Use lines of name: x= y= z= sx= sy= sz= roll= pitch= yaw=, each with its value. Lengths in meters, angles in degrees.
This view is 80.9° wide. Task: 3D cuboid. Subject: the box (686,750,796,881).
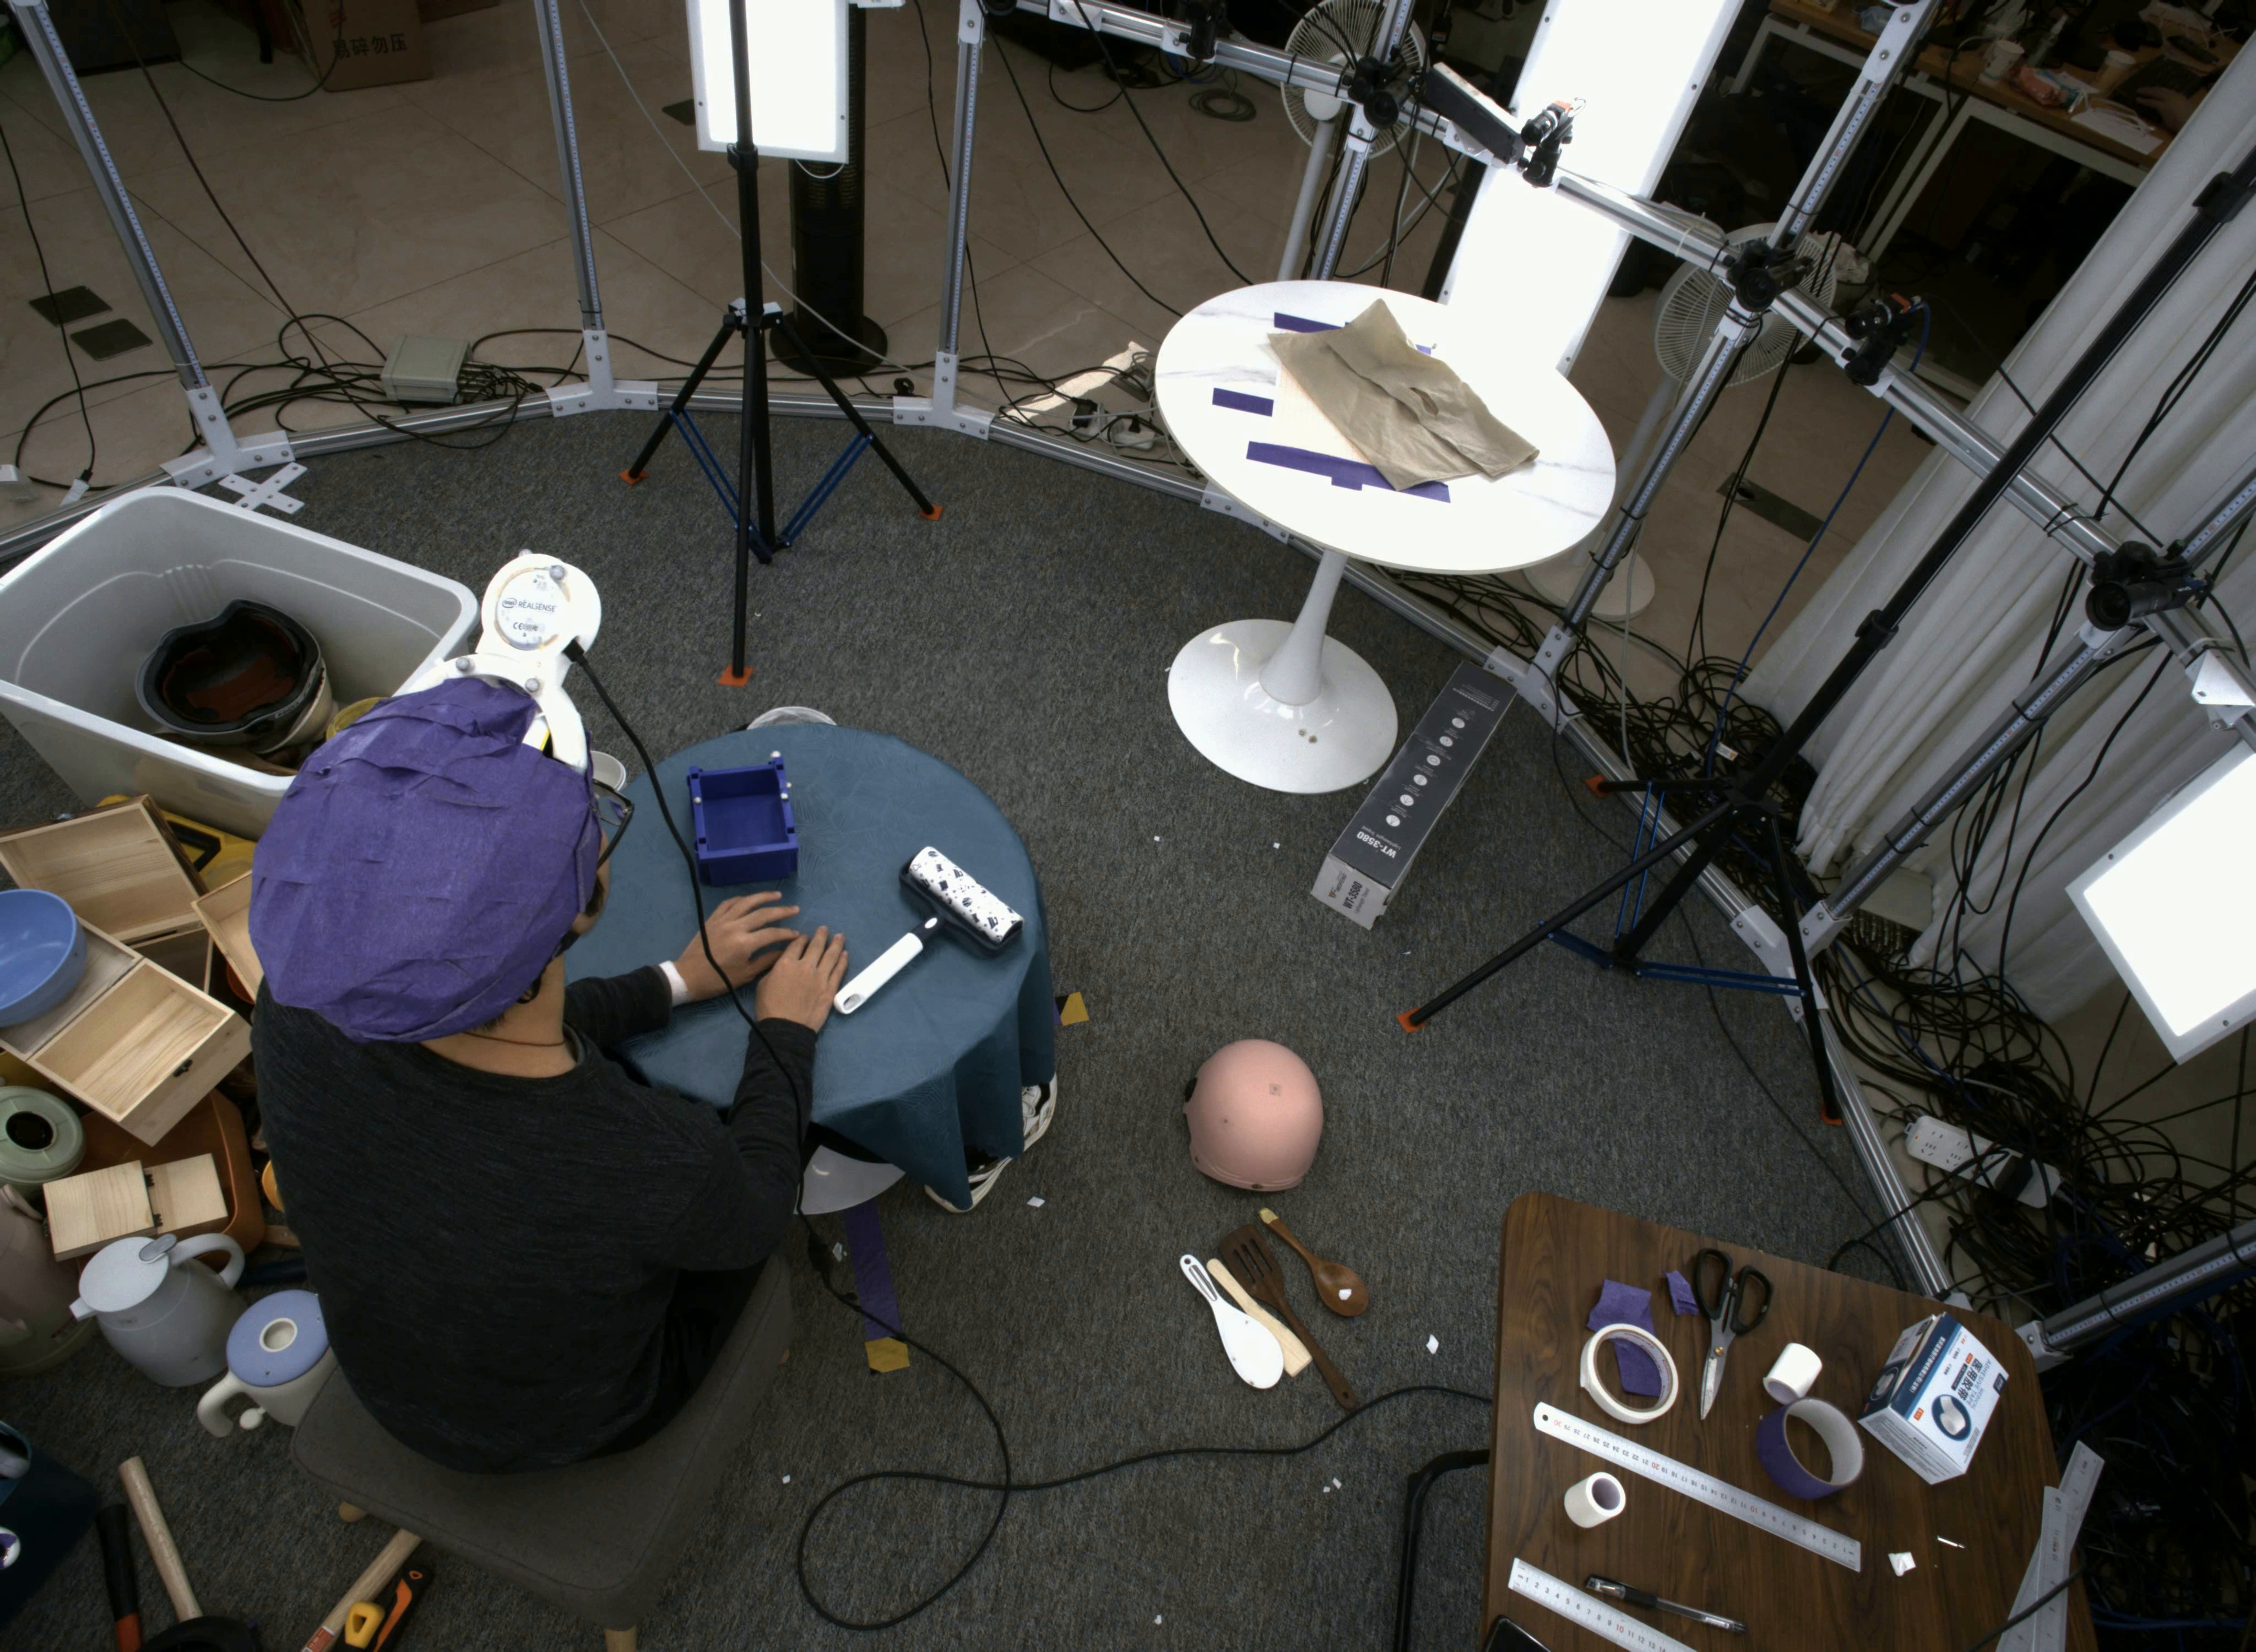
box: x=-0.500 y=-0.022 z=1.662 sx=0.125 sy=0.083 sz=0.175 roll=-7 pitch=58 yaw=-18

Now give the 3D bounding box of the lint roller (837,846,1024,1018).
lint roller: x=-0.269 y=0.146 z=1.623 sx=0.173 sy=0.051 sz=0.247 roll=37 pitch=55 yaw=13
